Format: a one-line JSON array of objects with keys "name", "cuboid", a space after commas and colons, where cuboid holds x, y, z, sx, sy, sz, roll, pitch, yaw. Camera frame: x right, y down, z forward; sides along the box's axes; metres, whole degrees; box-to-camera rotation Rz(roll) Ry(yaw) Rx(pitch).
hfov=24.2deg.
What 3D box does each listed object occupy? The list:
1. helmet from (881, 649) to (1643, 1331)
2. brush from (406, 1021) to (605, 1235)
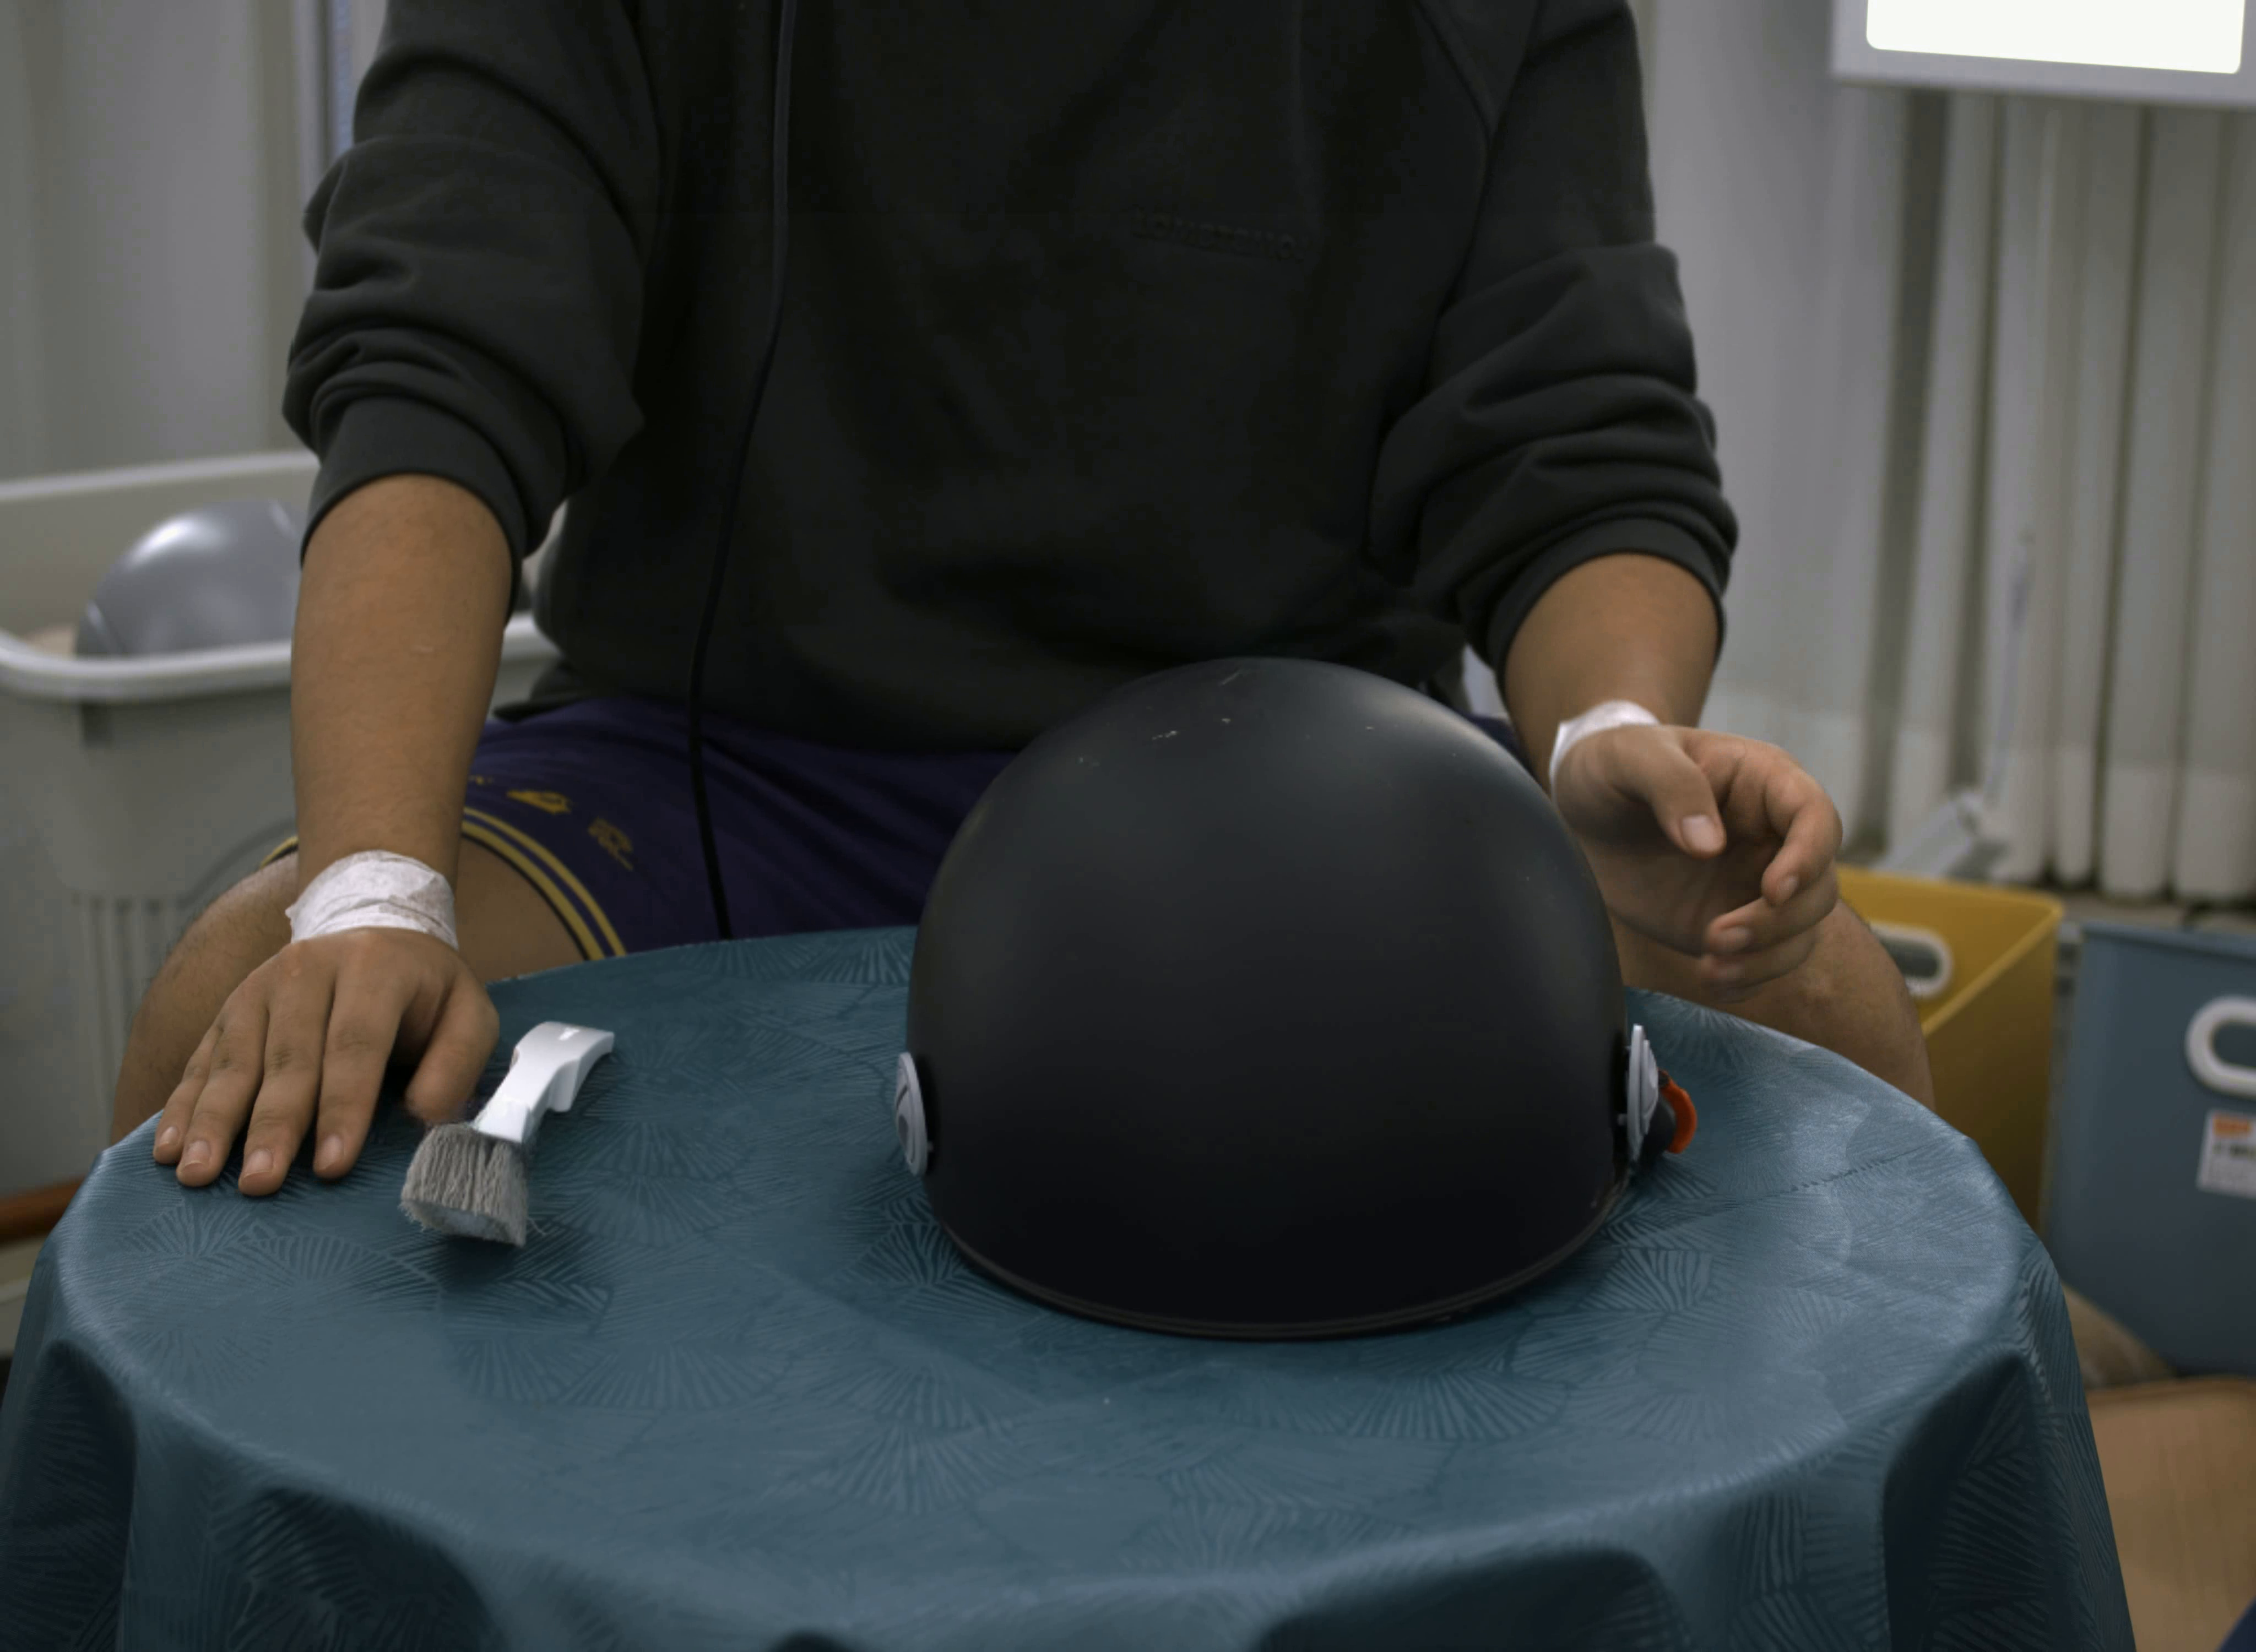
[{"name": "helmet", "cuboid": [0.039, 0.036, 1.603, 0.229, 0.168, 0.271, -2, 18, 2]}, {"name": "brush", "cuboid": [-0.191, 0.094, 1.638, 0.034, 0.050, 0.243, 9, 3, 1]}]
